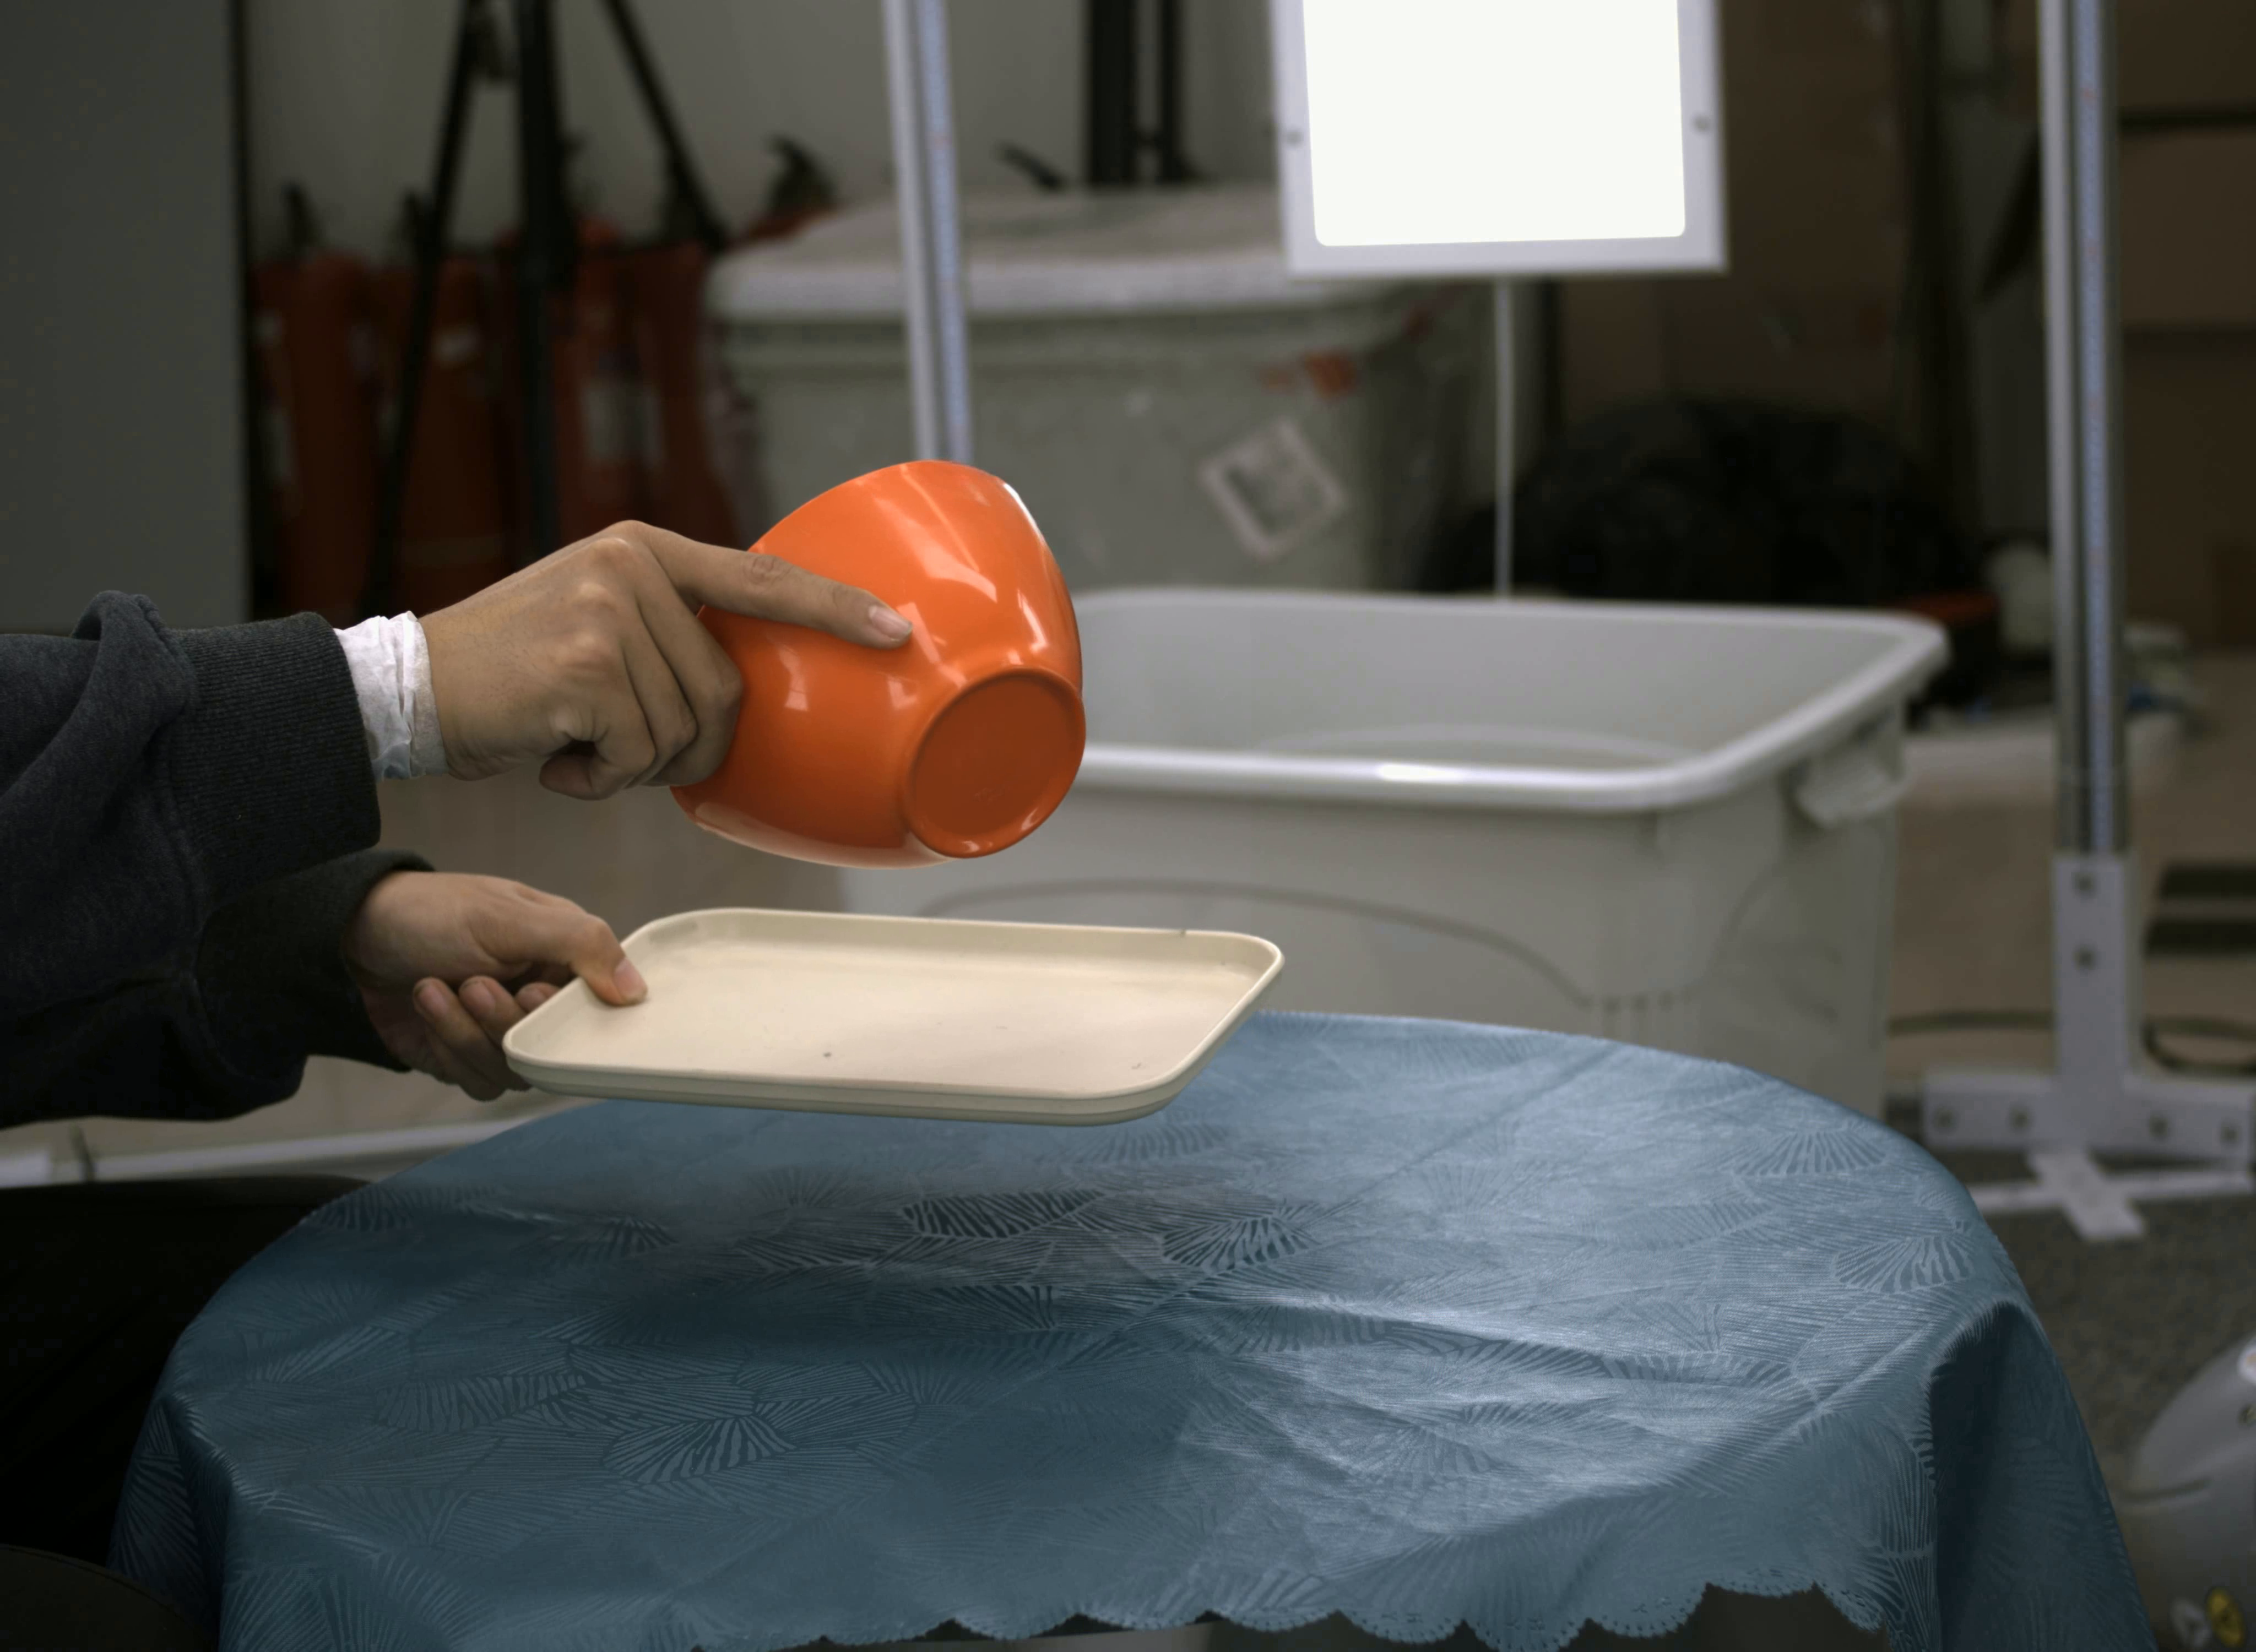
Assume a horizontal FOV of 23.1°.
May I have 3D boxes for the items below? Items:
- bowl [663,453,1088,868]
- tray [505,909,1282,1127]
[{"bbox_3d":[-0.064,-0.037,1.726,0.144,0.149,0.106,-12,35,-30],"label":"bowl"},{"bbox_3d":[-0.077,0.064,1.858,0.243,0.017,0.168,2,18,20],"label":"tray"}]
